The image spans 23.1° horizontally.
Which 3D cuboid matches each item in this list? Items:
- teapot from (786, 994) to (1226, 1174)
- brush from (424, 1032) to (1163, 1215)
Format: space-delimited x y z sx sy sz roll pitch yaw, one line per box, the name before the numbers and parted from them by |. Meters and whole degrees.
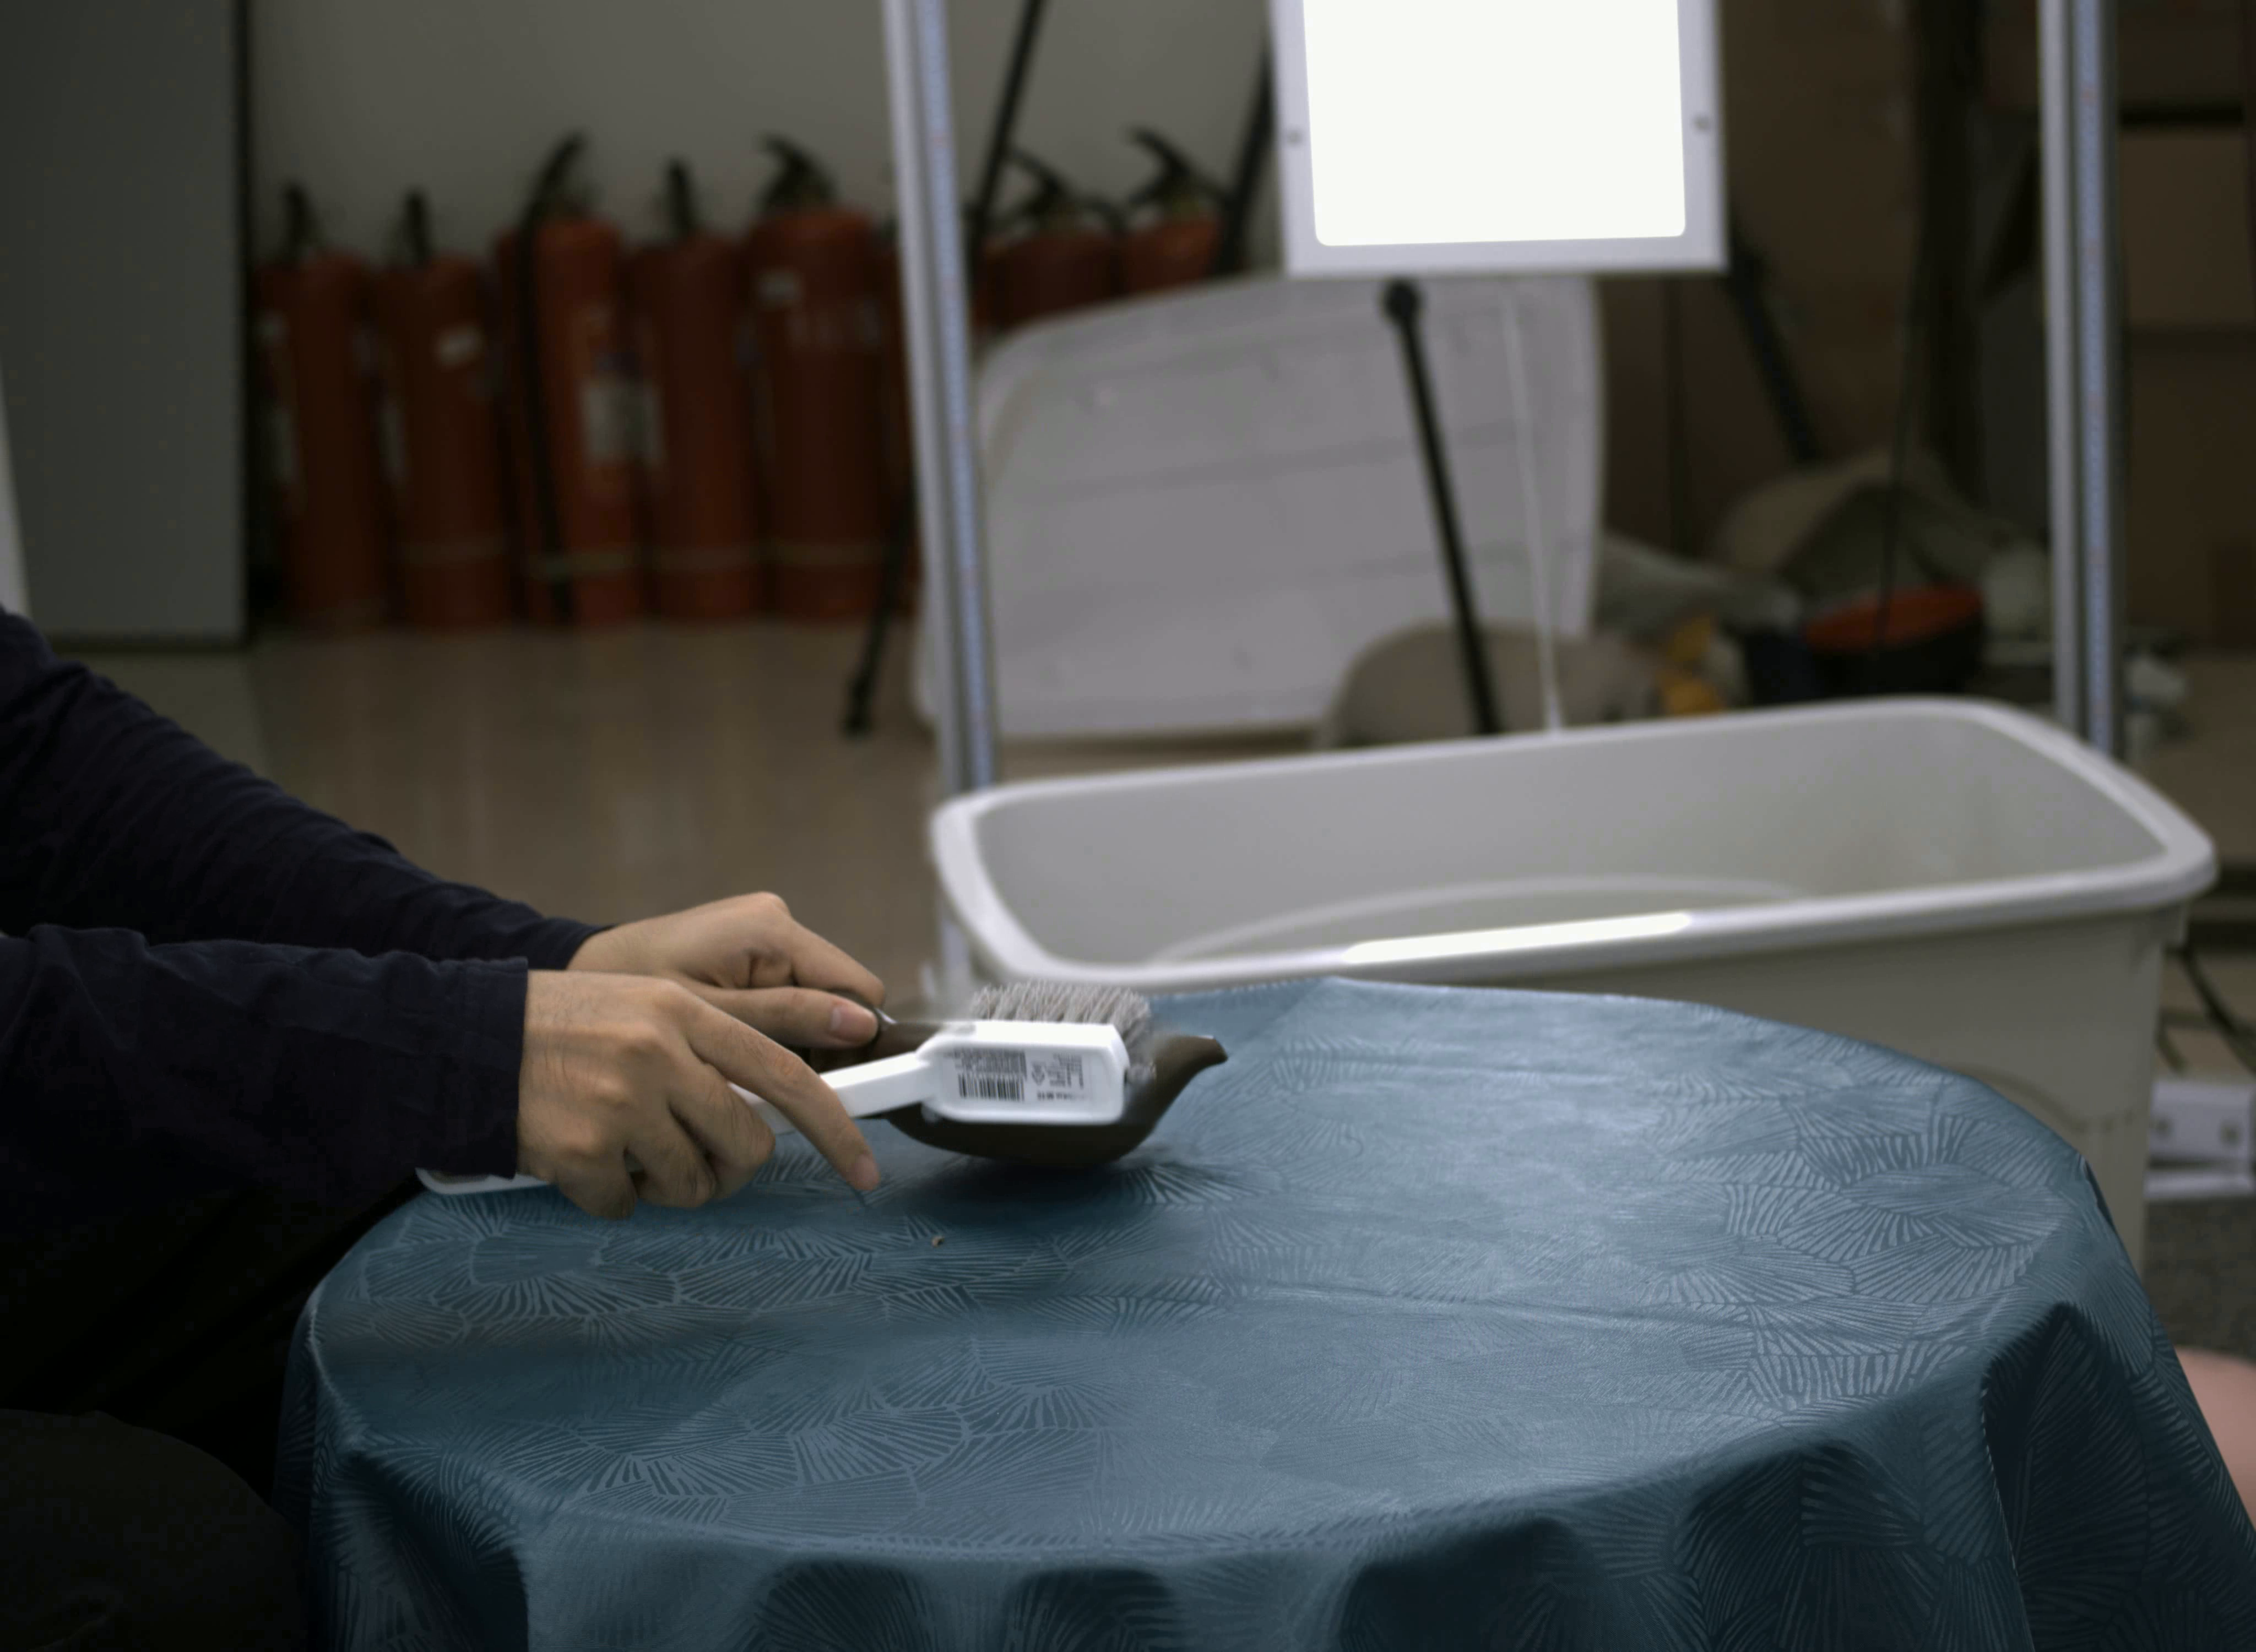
teapot | -0.044 0.089 1.922 0.153 0.054 0.102 9 1 3
brush | -0.109 0.098 1.815 0.243 0.034 0.050 -5 27 3
